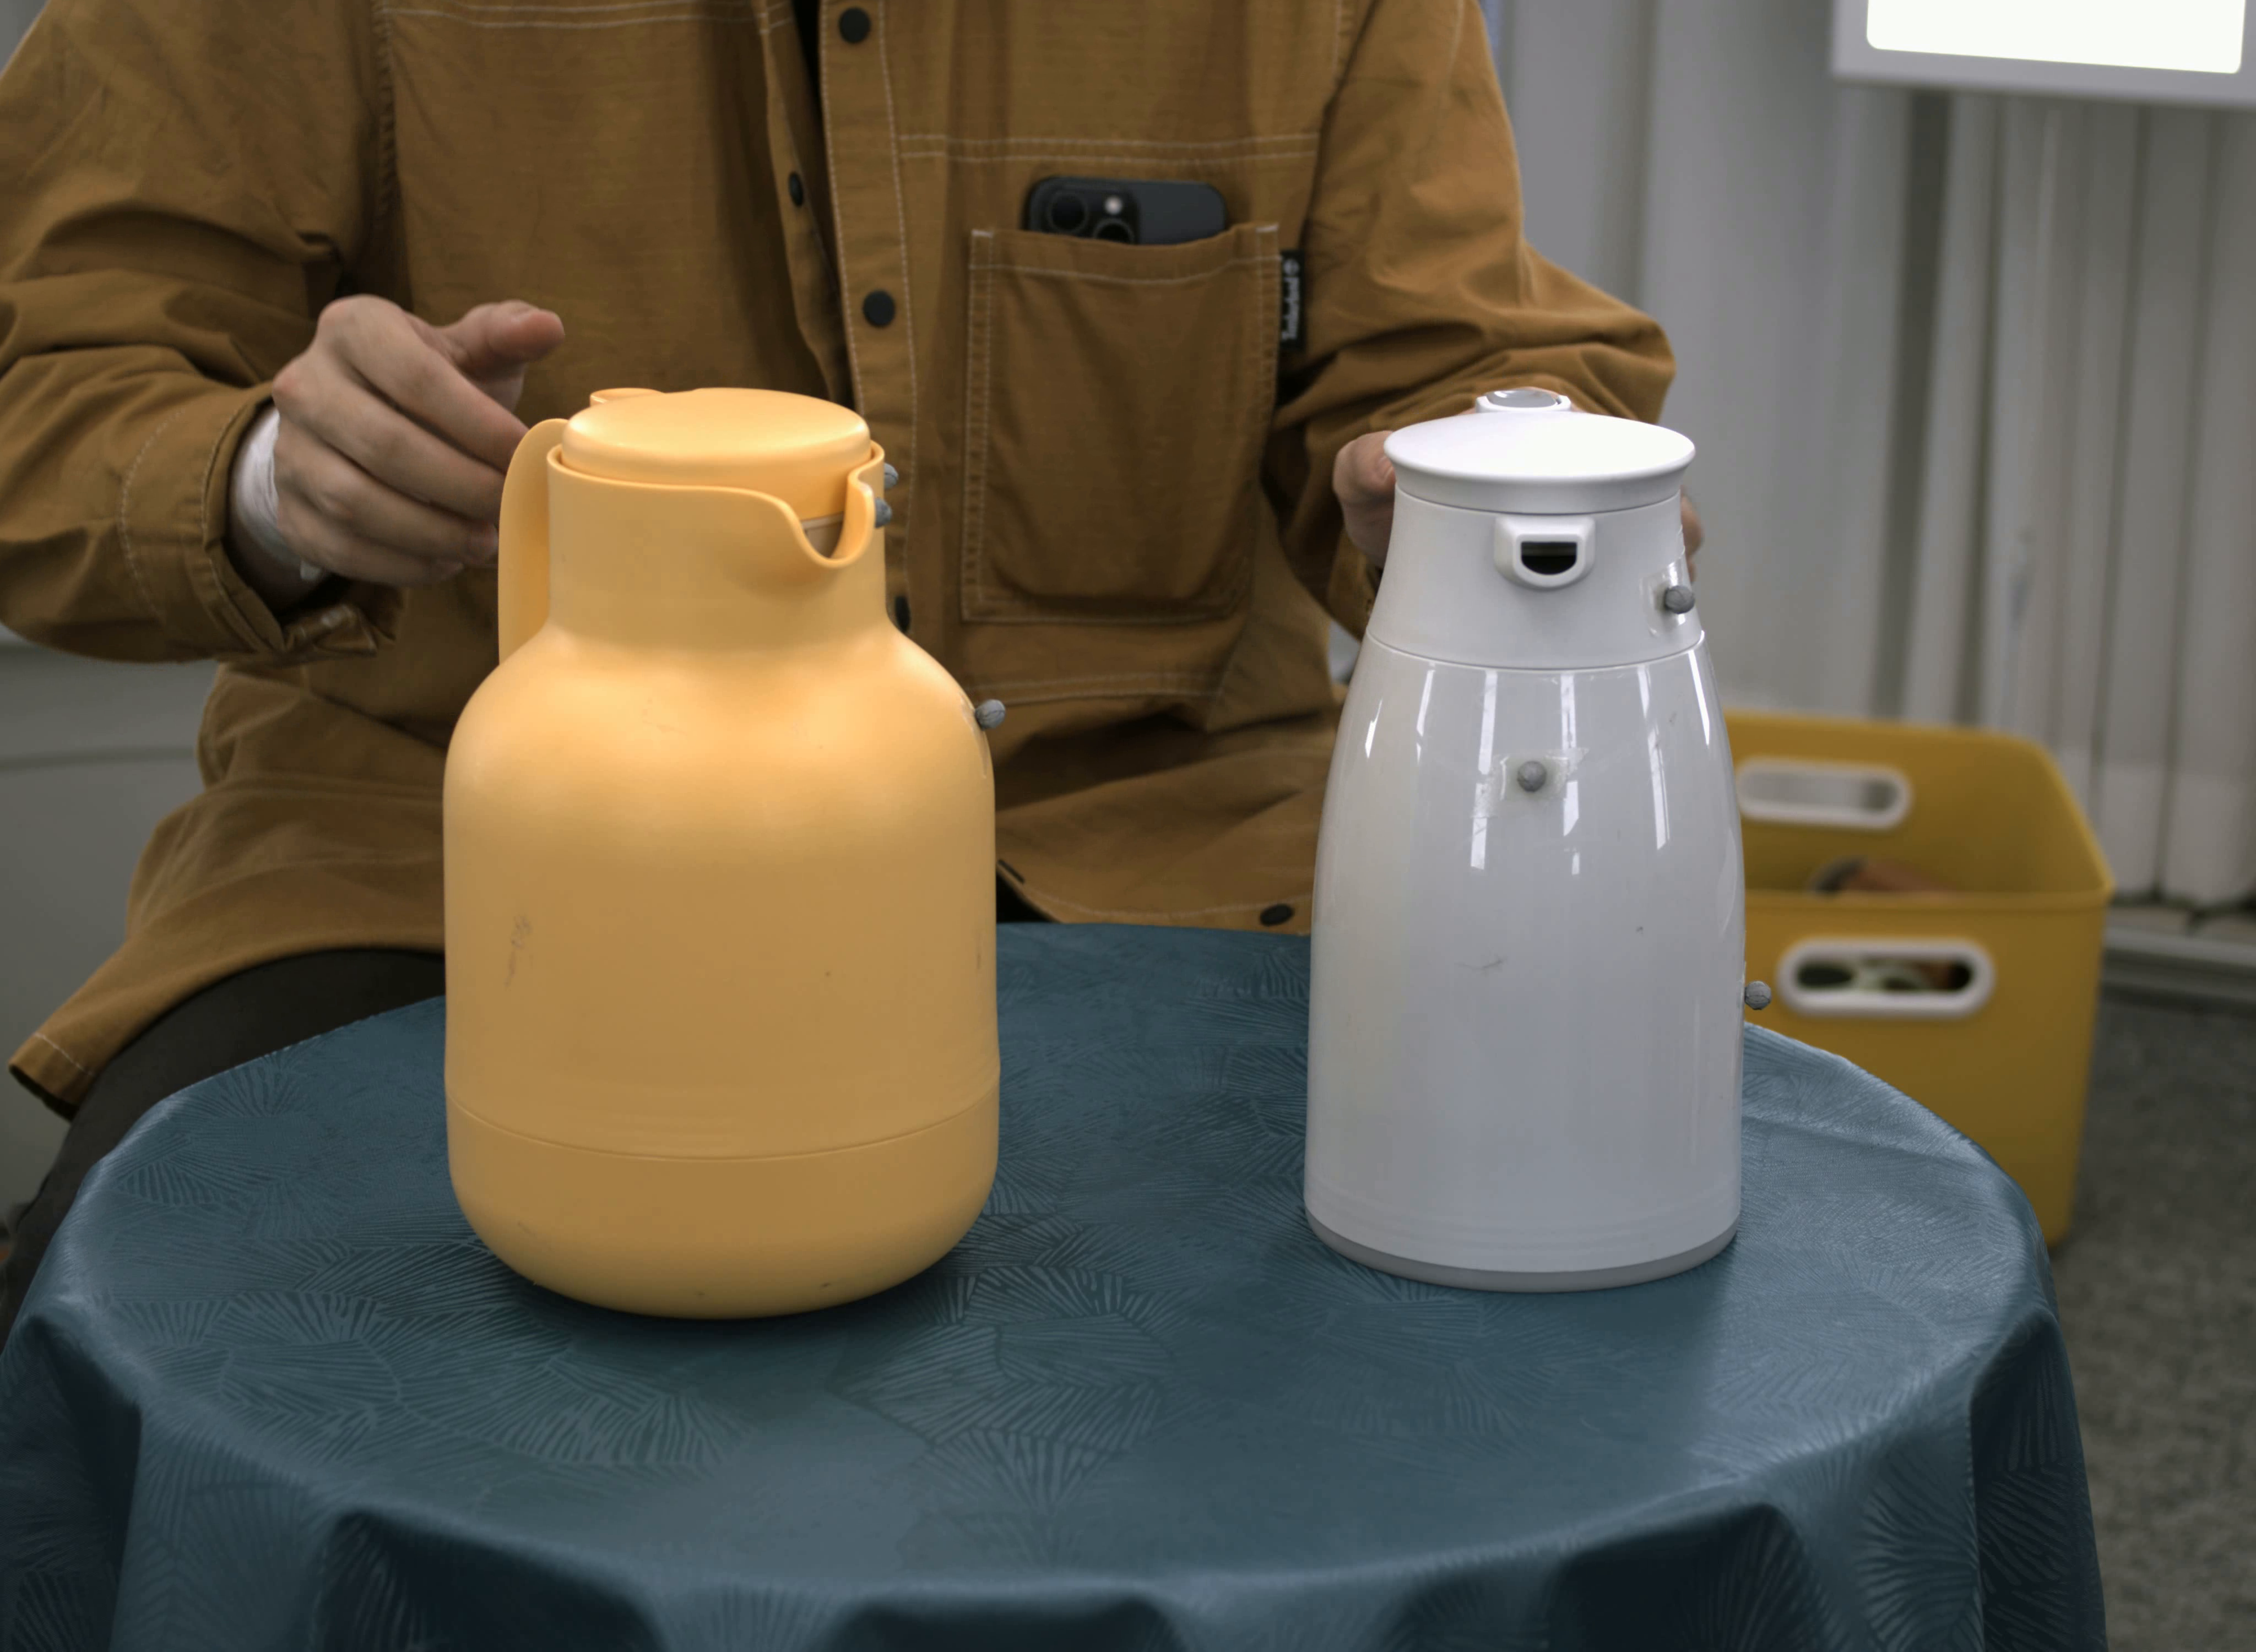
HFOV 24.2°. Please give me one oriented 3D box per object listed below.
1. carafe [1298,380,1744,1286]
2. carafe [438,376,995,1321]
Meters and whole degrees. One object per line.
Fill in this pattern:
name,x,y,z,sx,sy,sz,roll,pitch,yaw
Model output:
carafe,0.118,-0.007,1.585,0.132,0.250,0.167,0,16,0
carafe,-0.127,-0.002,1.543,0.164,0.262,0.200,-7,18,-30
